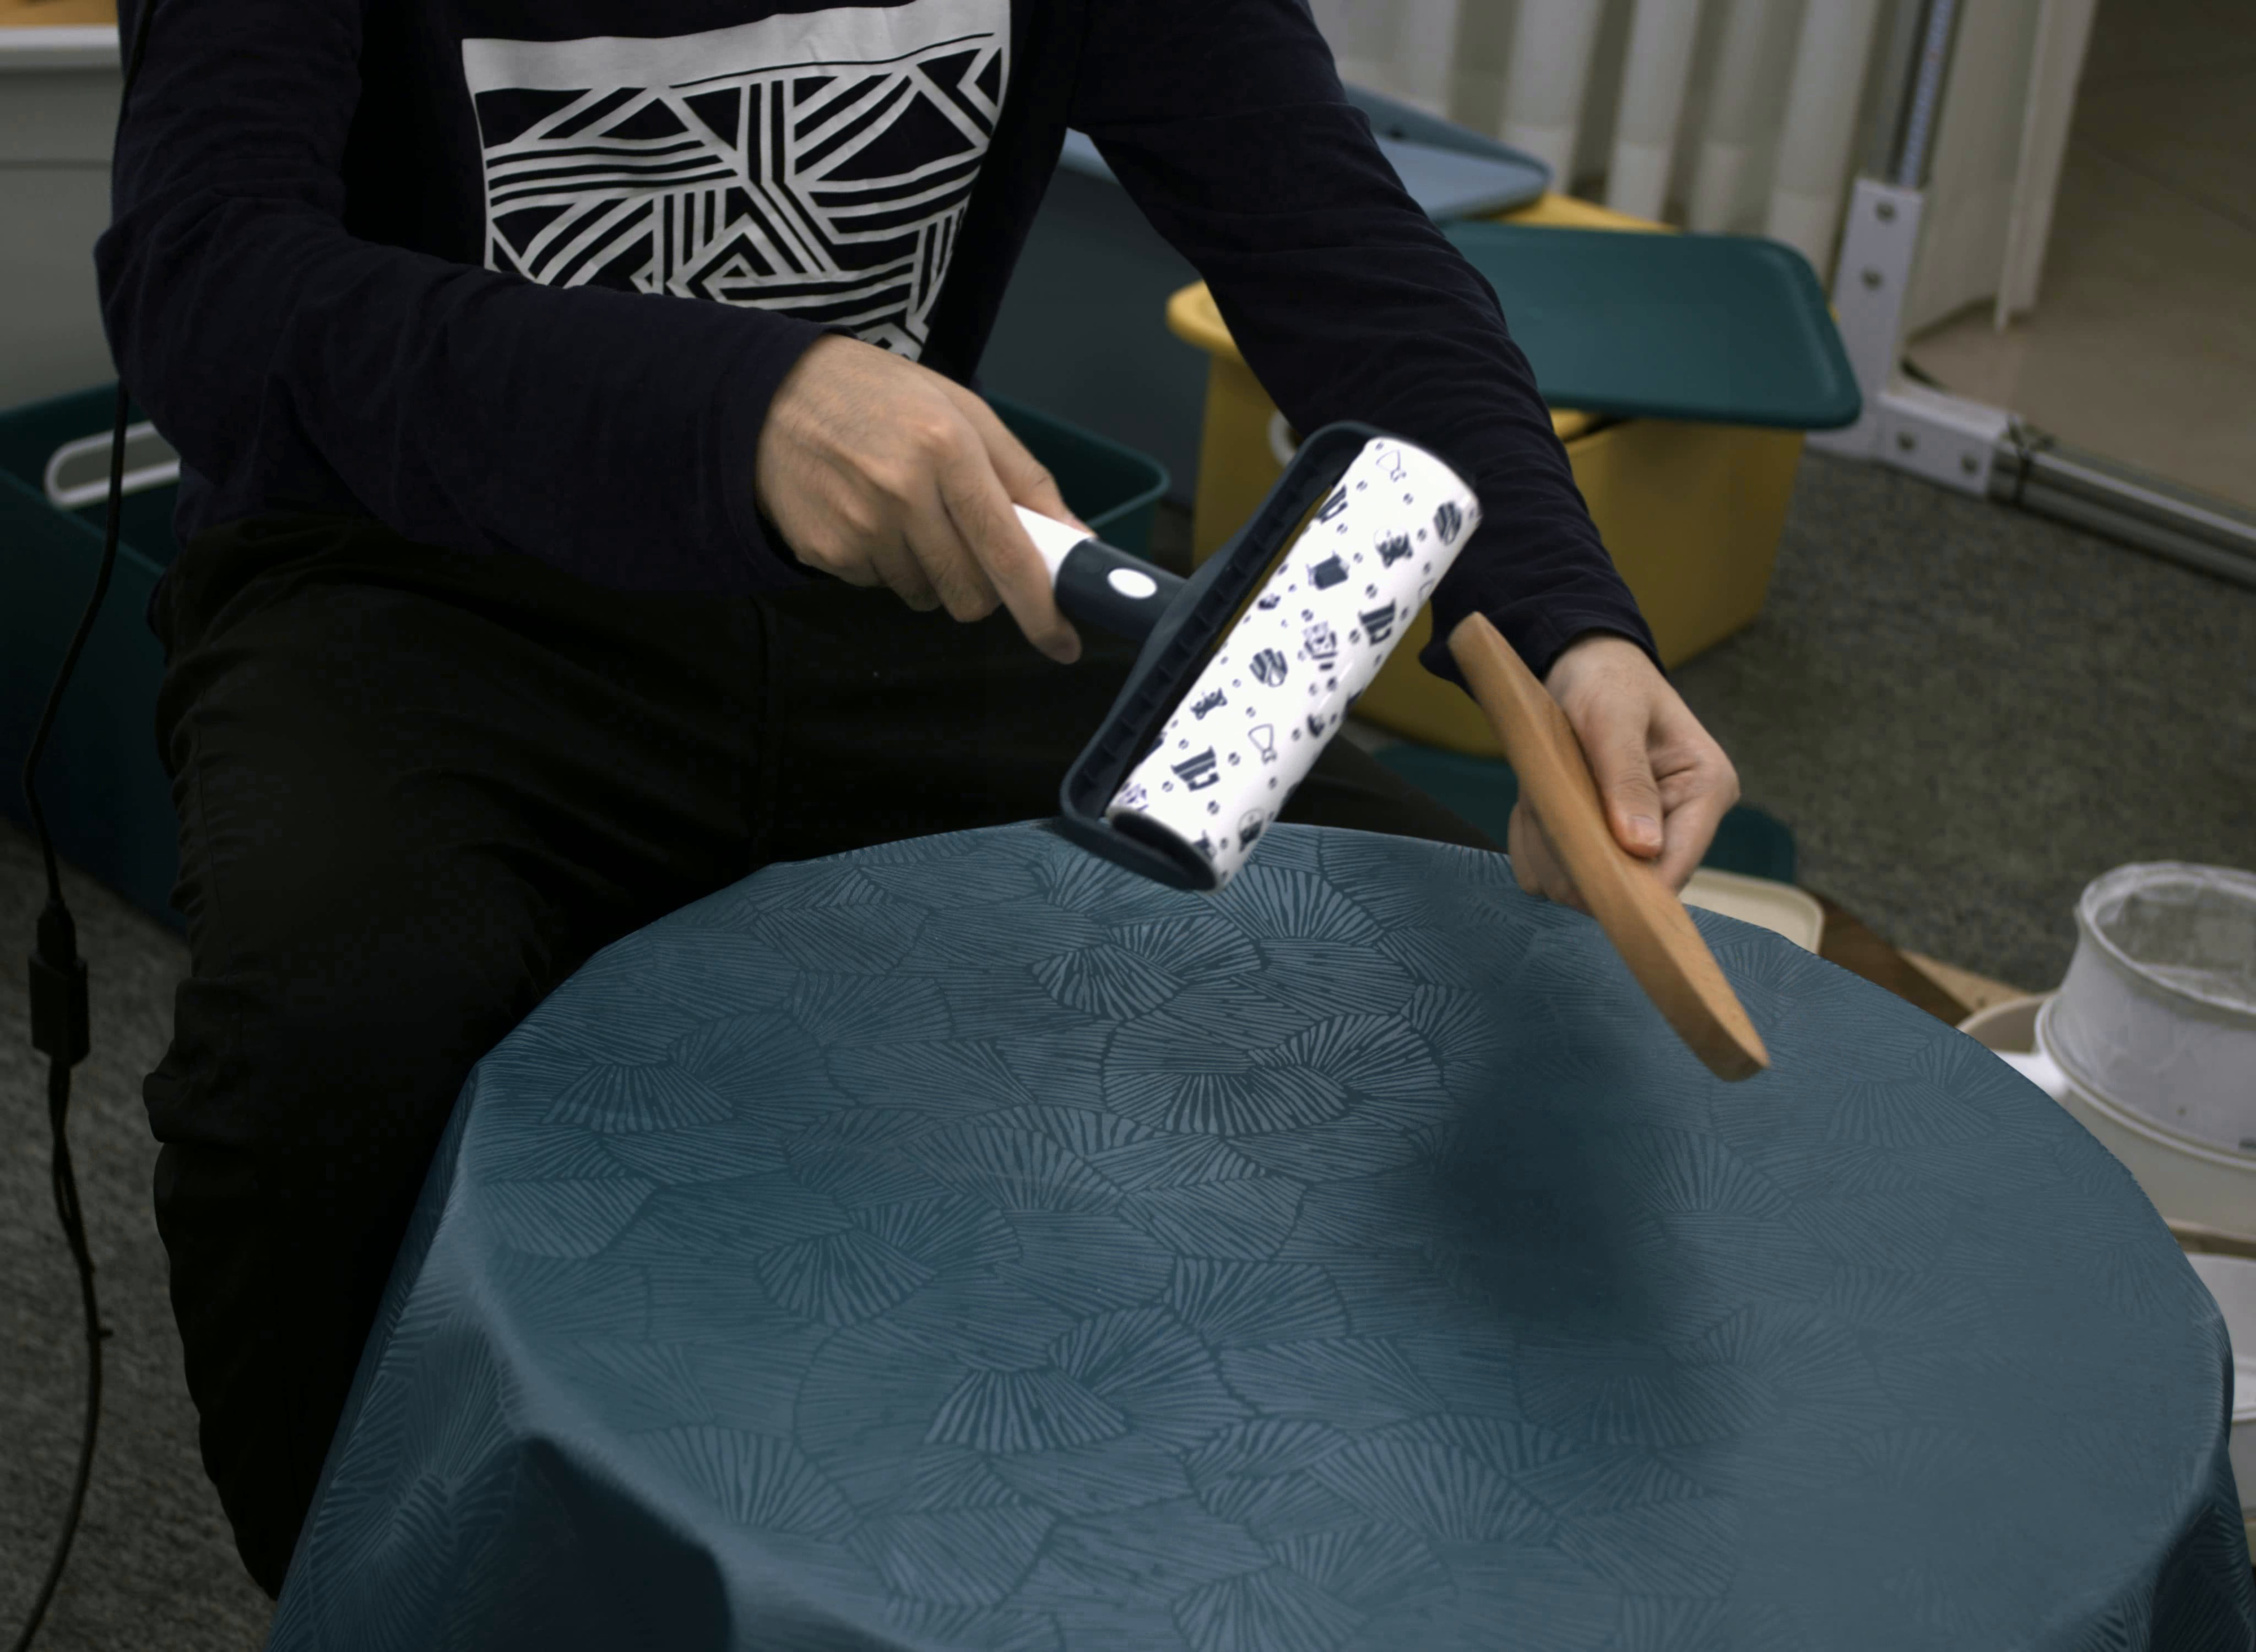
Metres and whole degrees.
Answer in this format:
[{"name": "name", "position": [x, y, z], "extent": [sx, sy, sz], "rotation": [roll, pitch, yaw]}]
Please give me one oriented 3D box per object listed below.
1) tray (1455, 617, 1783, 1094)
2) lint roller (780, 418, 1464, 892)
[{"name": "tray", "position": [0.163, 0.009, 1.797], "extent": [0.020, 0.101, 0.233], "rotation": [-36, 36, 11]}, {"name": "lint roller", "position": [-0.027, -0.088, 1.818], "extent": [0.248, 0.050, 0.176], "rotation": [23, 69, 31]}]
